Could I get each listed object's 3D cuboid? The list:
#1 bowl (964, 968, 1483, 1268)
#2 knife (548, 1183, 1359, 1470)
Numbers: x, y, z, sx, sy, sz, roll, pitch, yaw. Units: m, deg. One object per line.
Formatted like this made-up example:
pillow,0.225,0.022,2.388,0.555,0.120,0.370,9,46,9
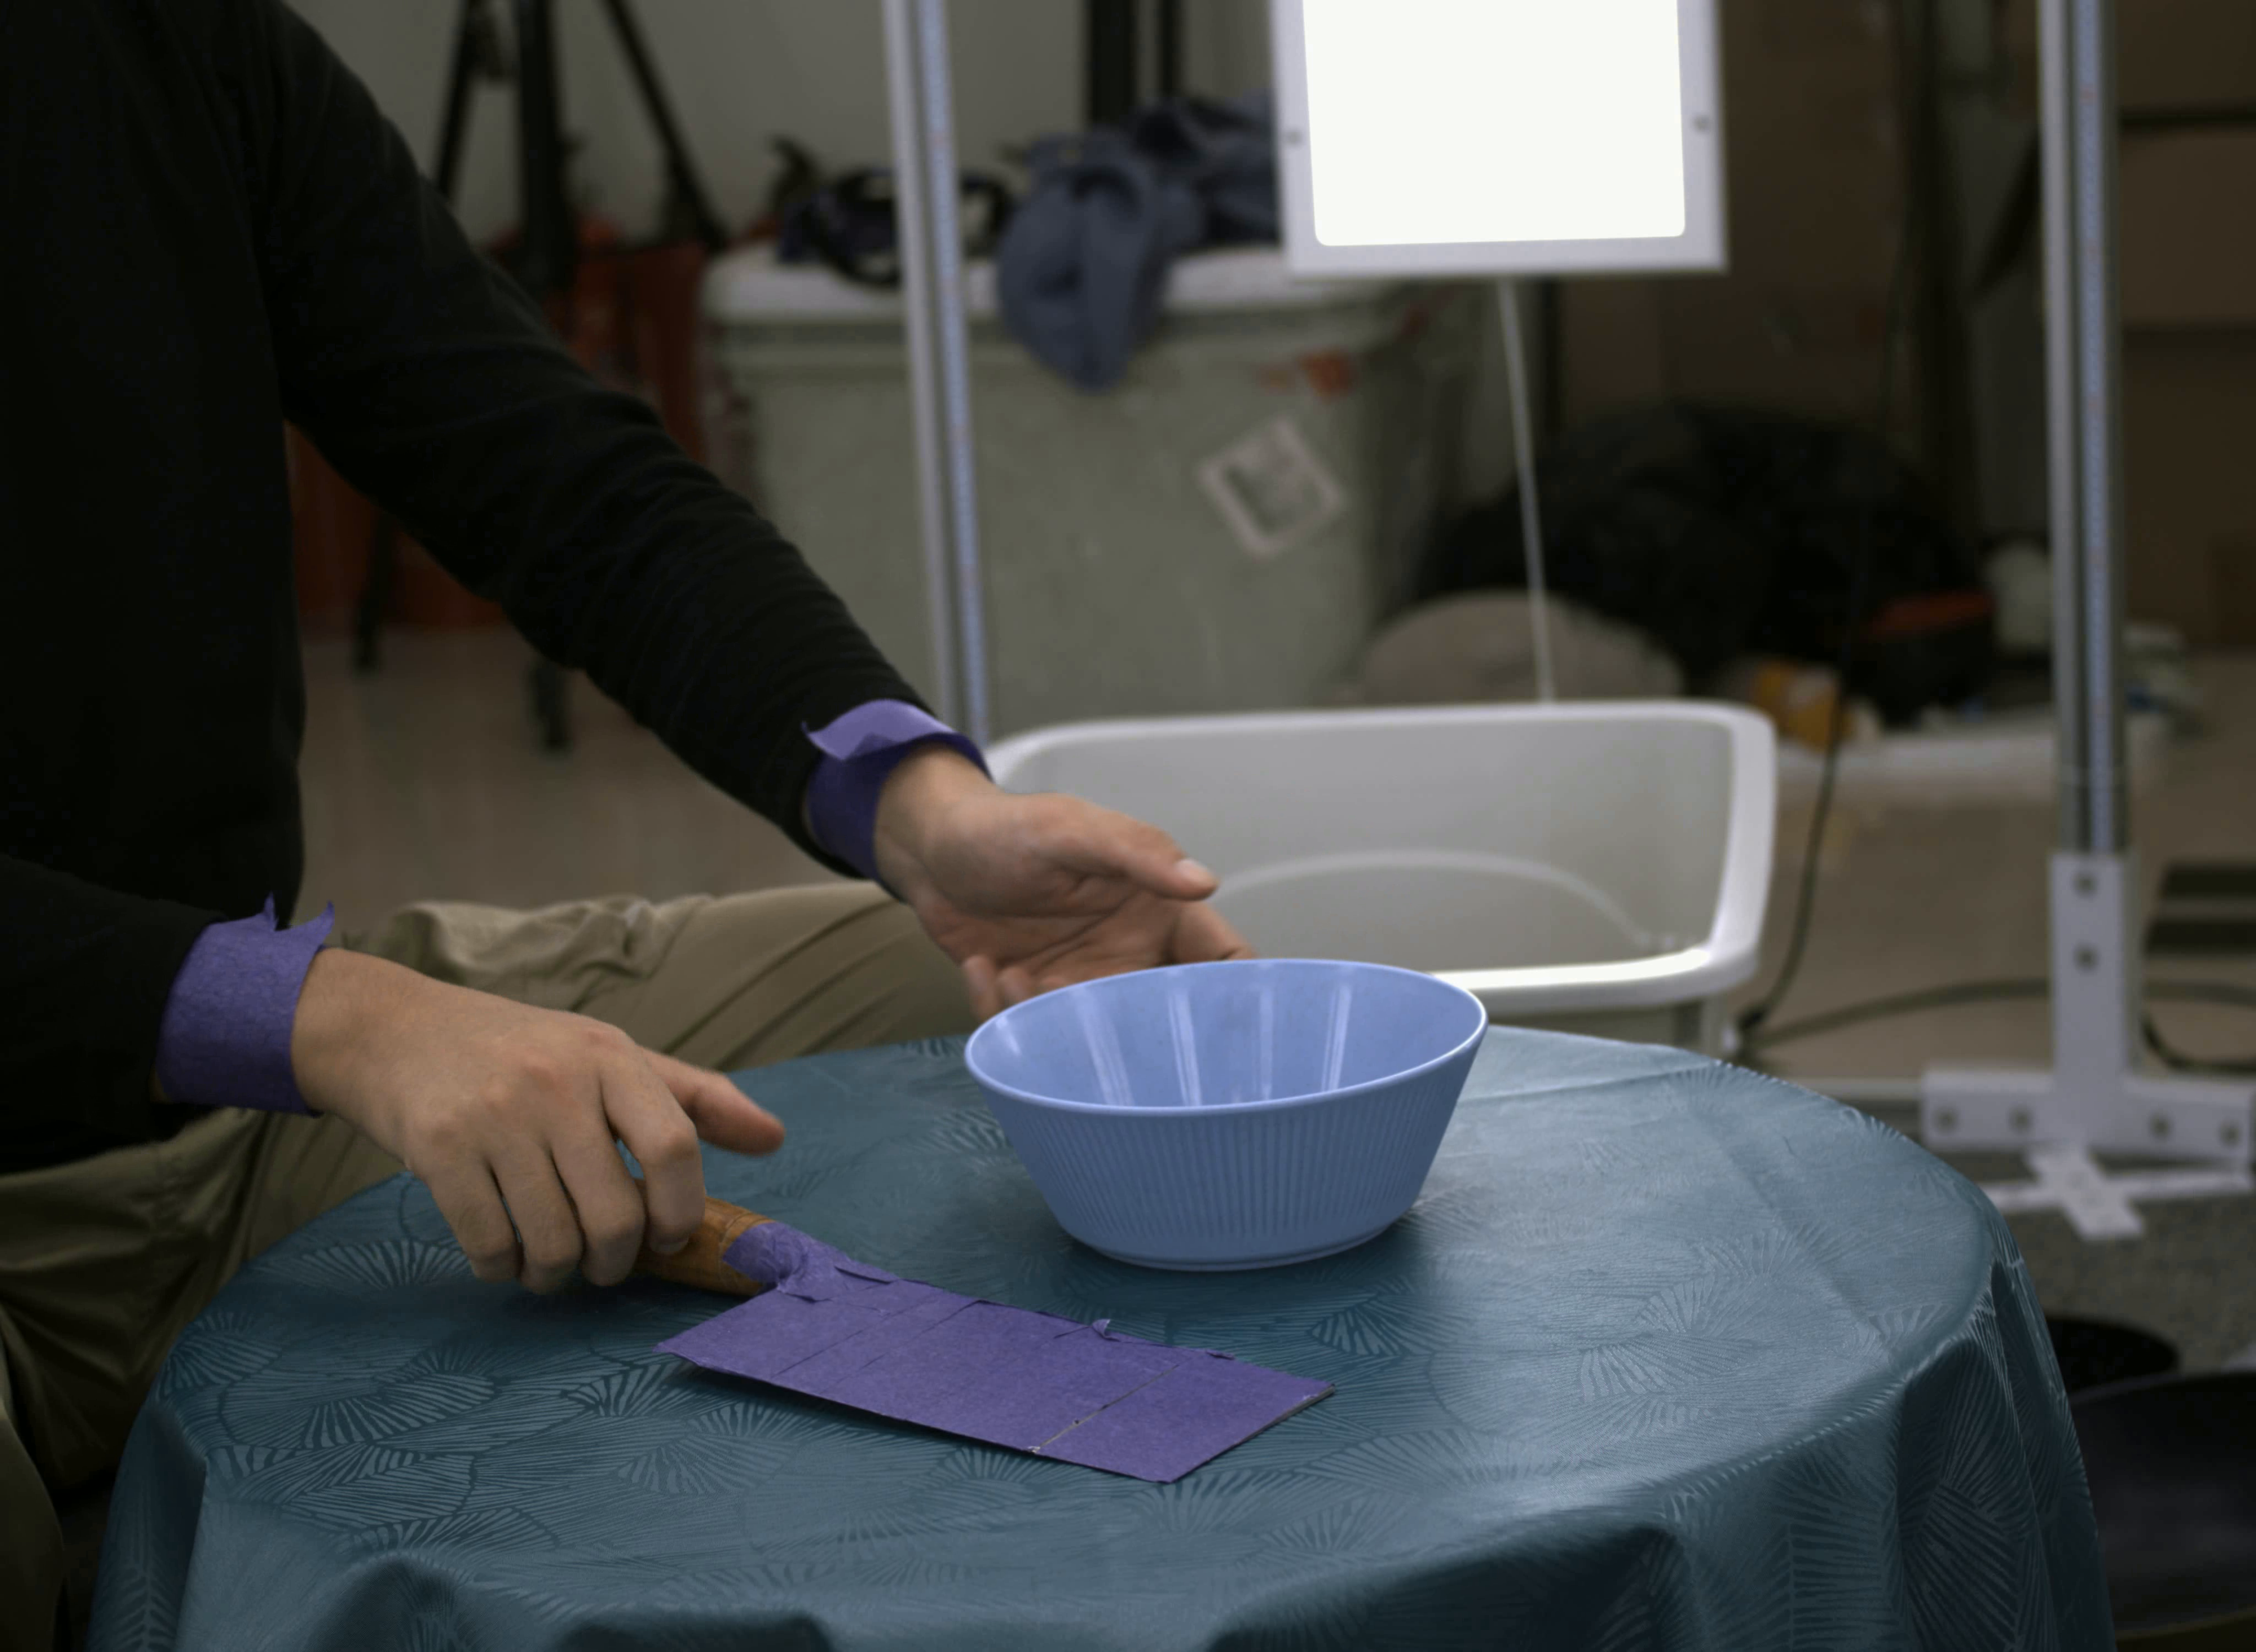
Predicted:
bowl,0.034,0.100,1.846,0.175,0.070,0.176,-5,12,0
knife,-0.081,0.157,1.749,0.322,0.032,0.101,7,18,38
